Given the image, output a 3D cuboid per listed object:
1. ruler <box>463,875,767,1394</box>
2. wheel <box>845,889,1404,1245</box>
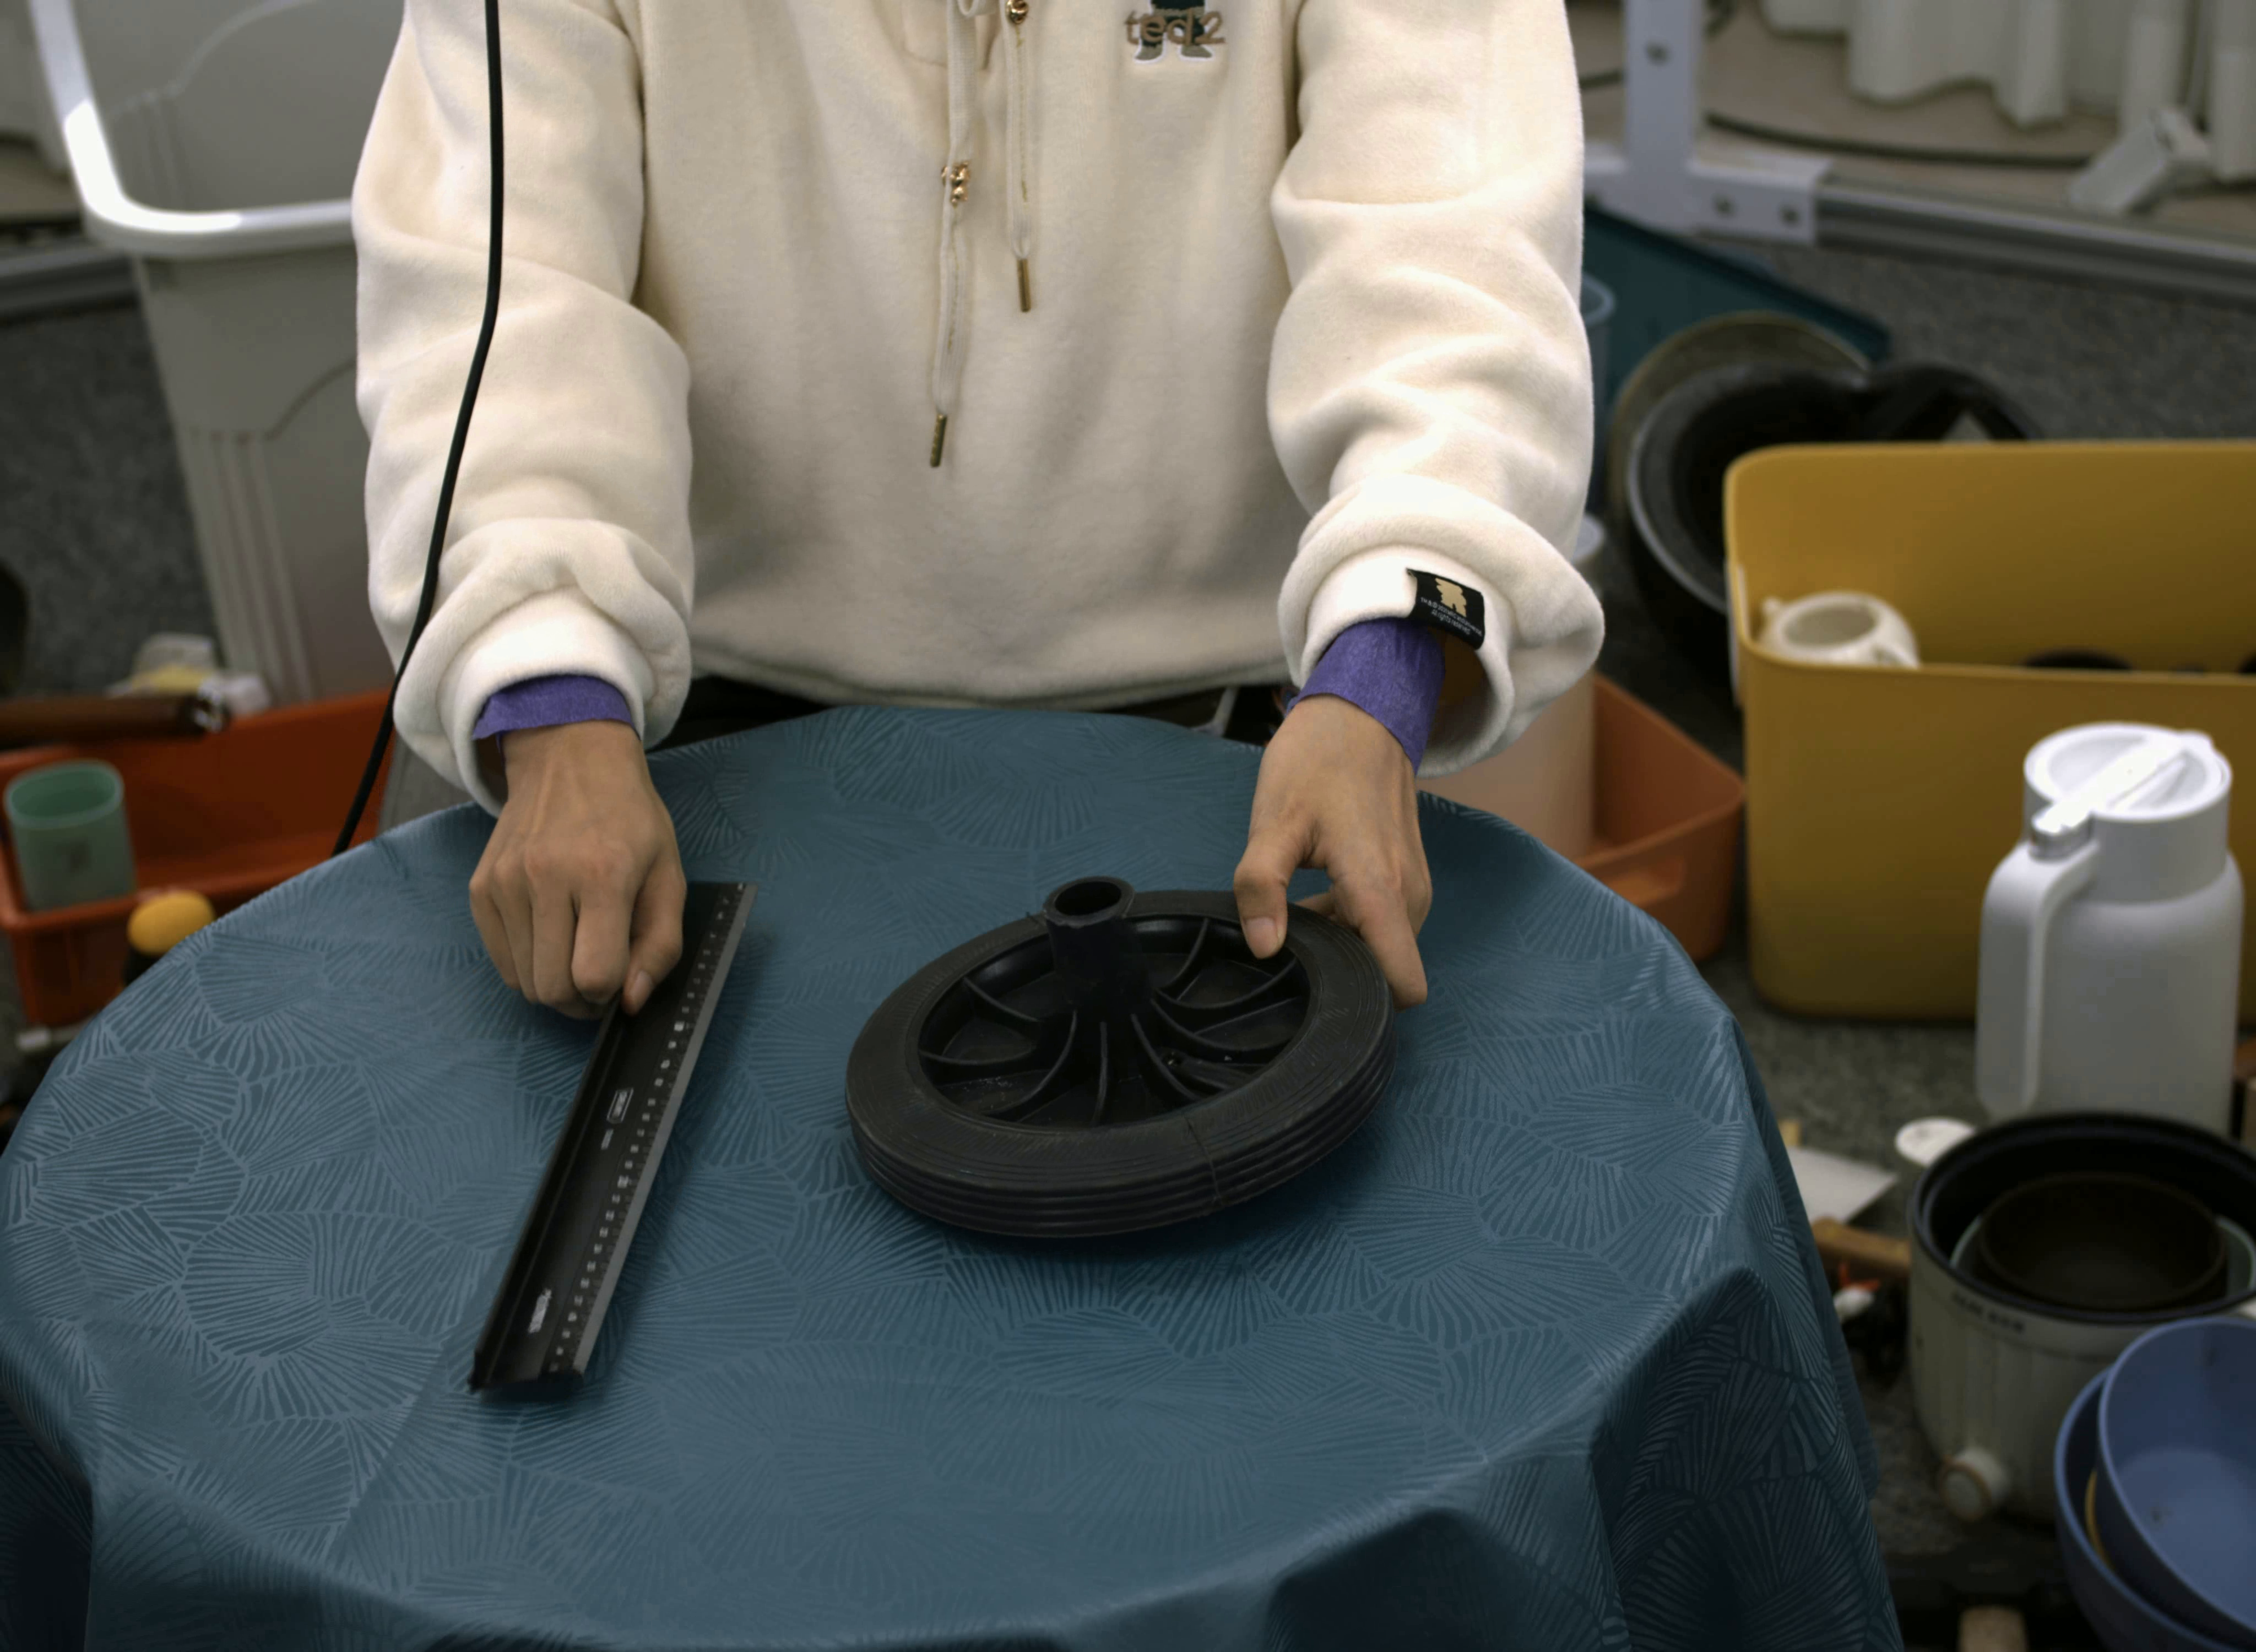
[{"bbox_3d":[-0.171,0.097,1.890,0.039,0.017,0.318,-4,27,11],"label":"ruler"},{"bbox_3d":[-0.005,0.063,1.884,0.188,0.078,0.191,0,30,19],"label":"wheel"}]
